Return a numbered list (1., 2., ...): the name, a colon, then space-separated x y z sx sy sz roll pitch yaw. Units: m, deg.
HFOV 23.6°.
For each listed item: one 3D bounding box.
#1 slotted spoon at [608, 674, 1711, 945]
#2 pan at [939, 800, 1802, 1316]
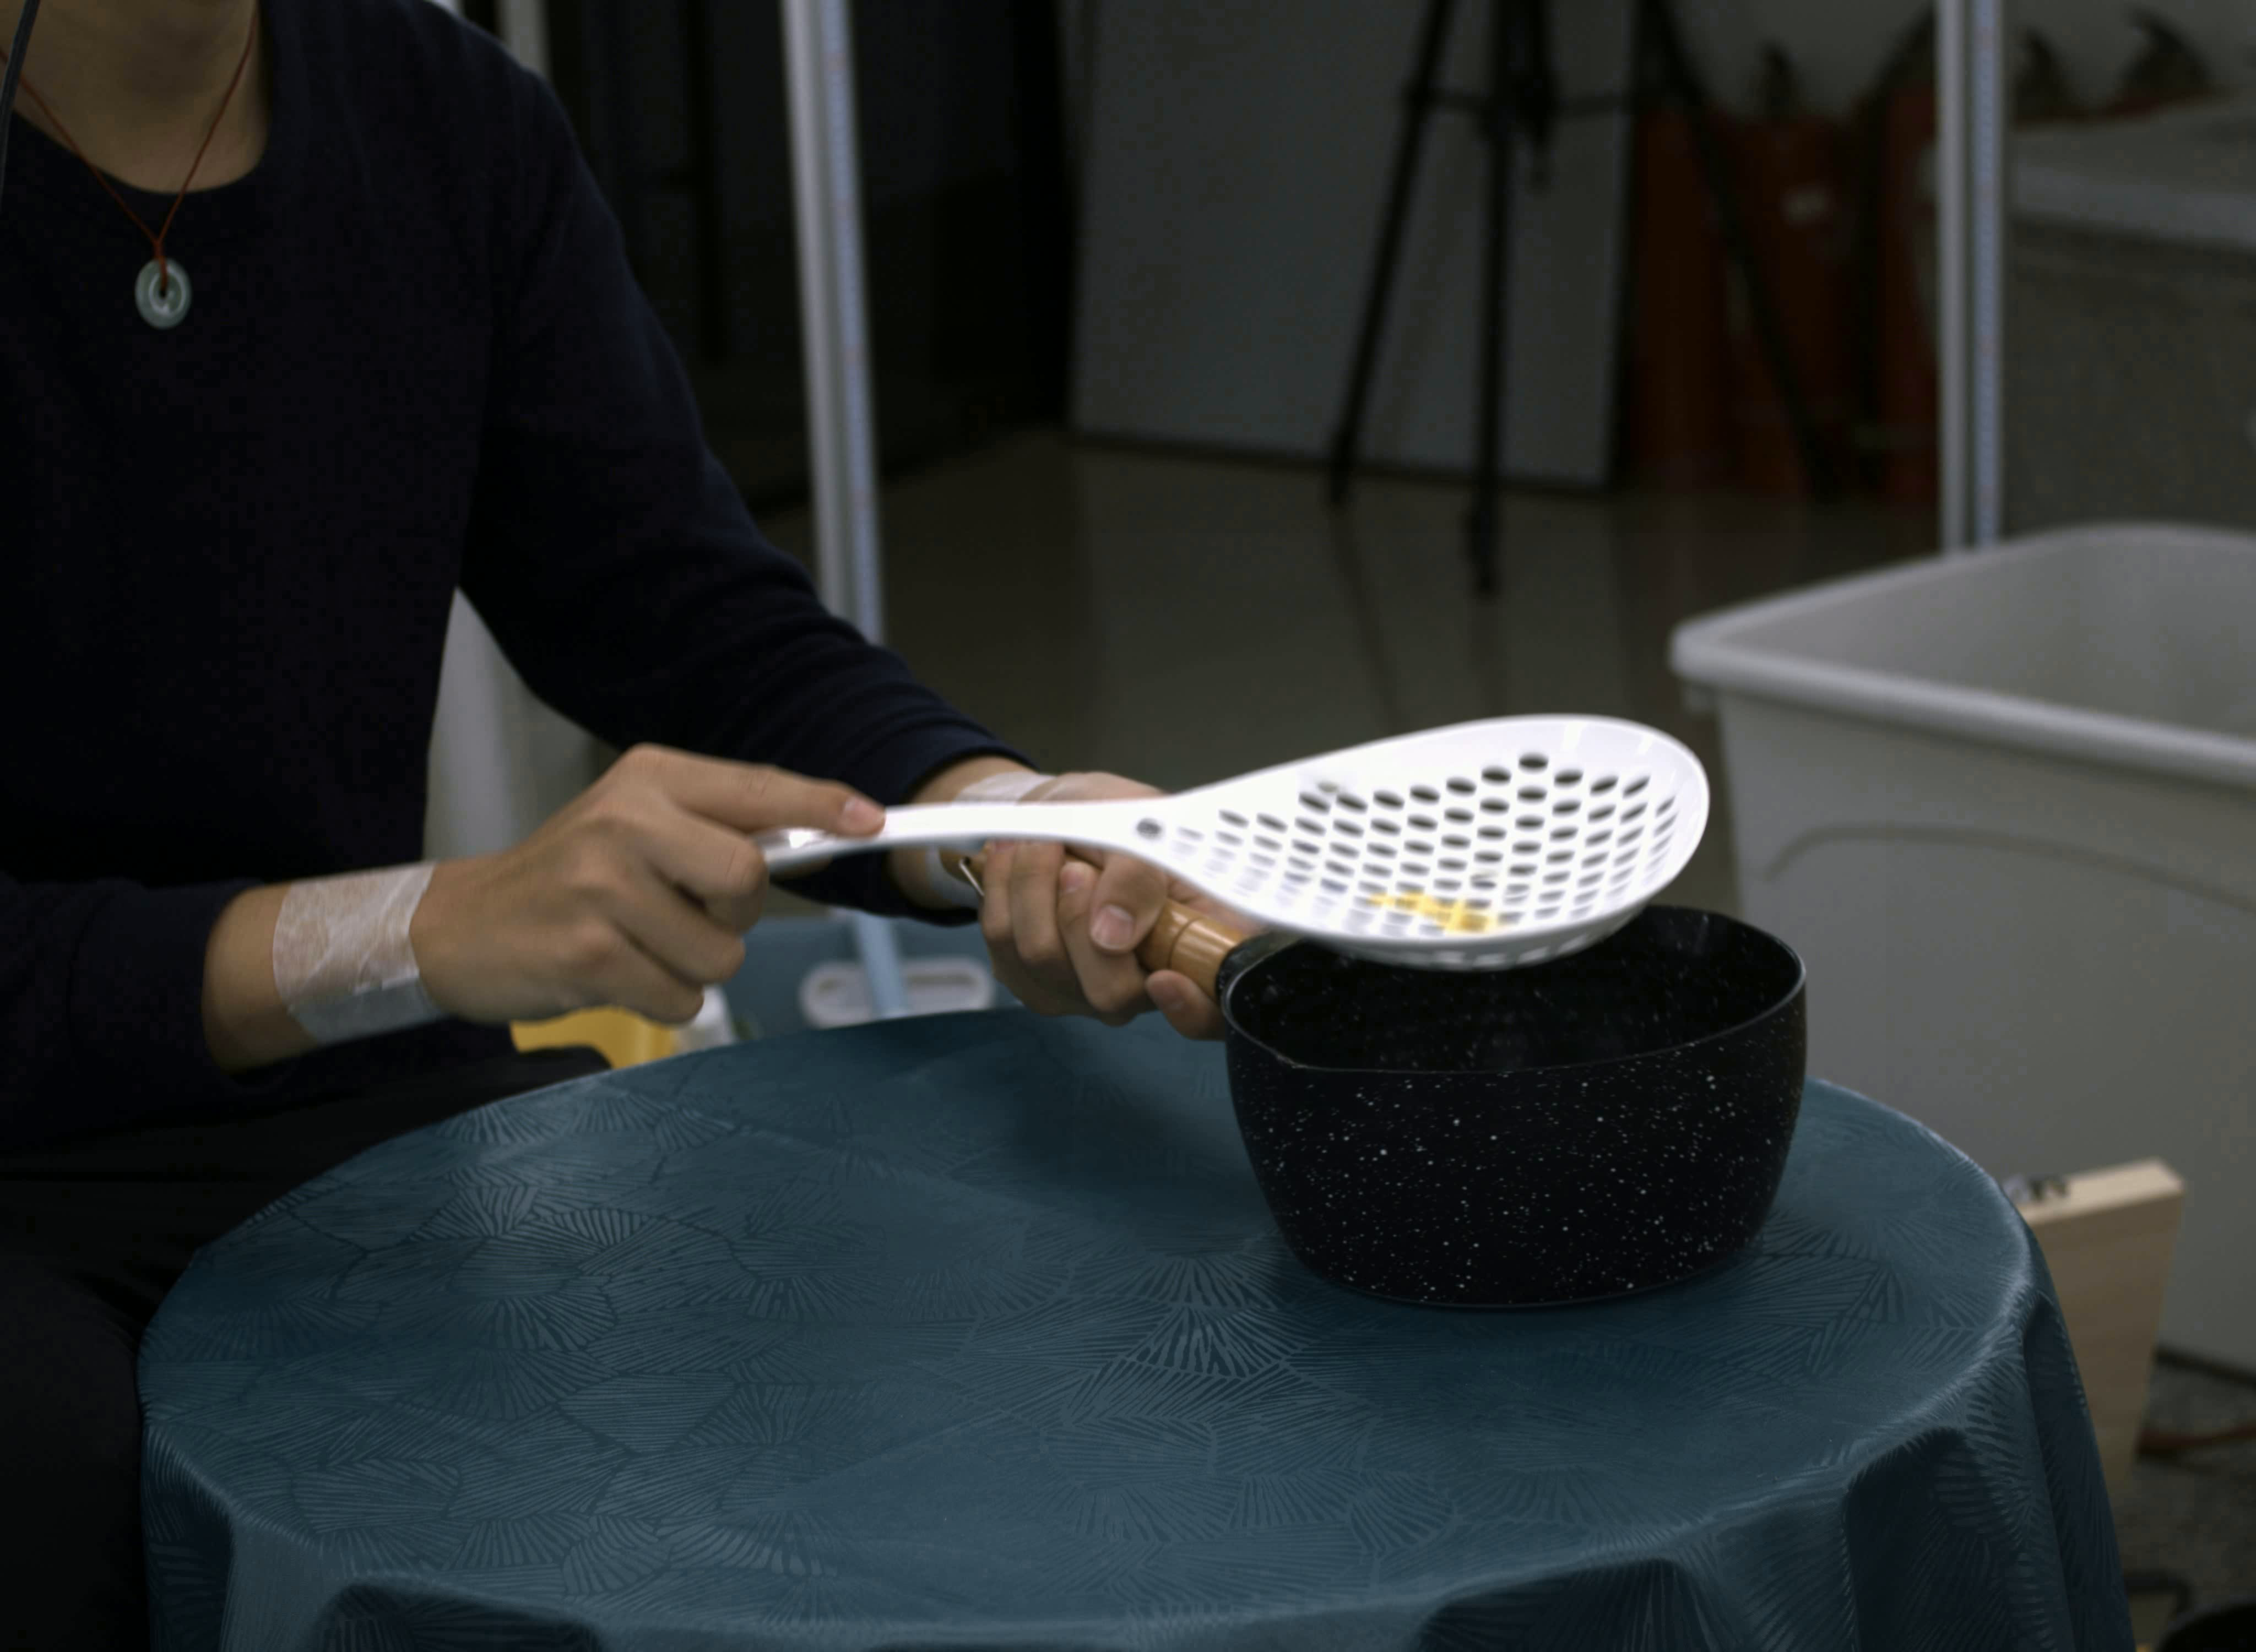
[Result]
1. slotted spoon: 0.005 0.002 1.632 0.346 0.050 0.136 2 31 16
2. pan: 0.063 0.066 1.740 0.346 0.109 0.203 10 22 43
